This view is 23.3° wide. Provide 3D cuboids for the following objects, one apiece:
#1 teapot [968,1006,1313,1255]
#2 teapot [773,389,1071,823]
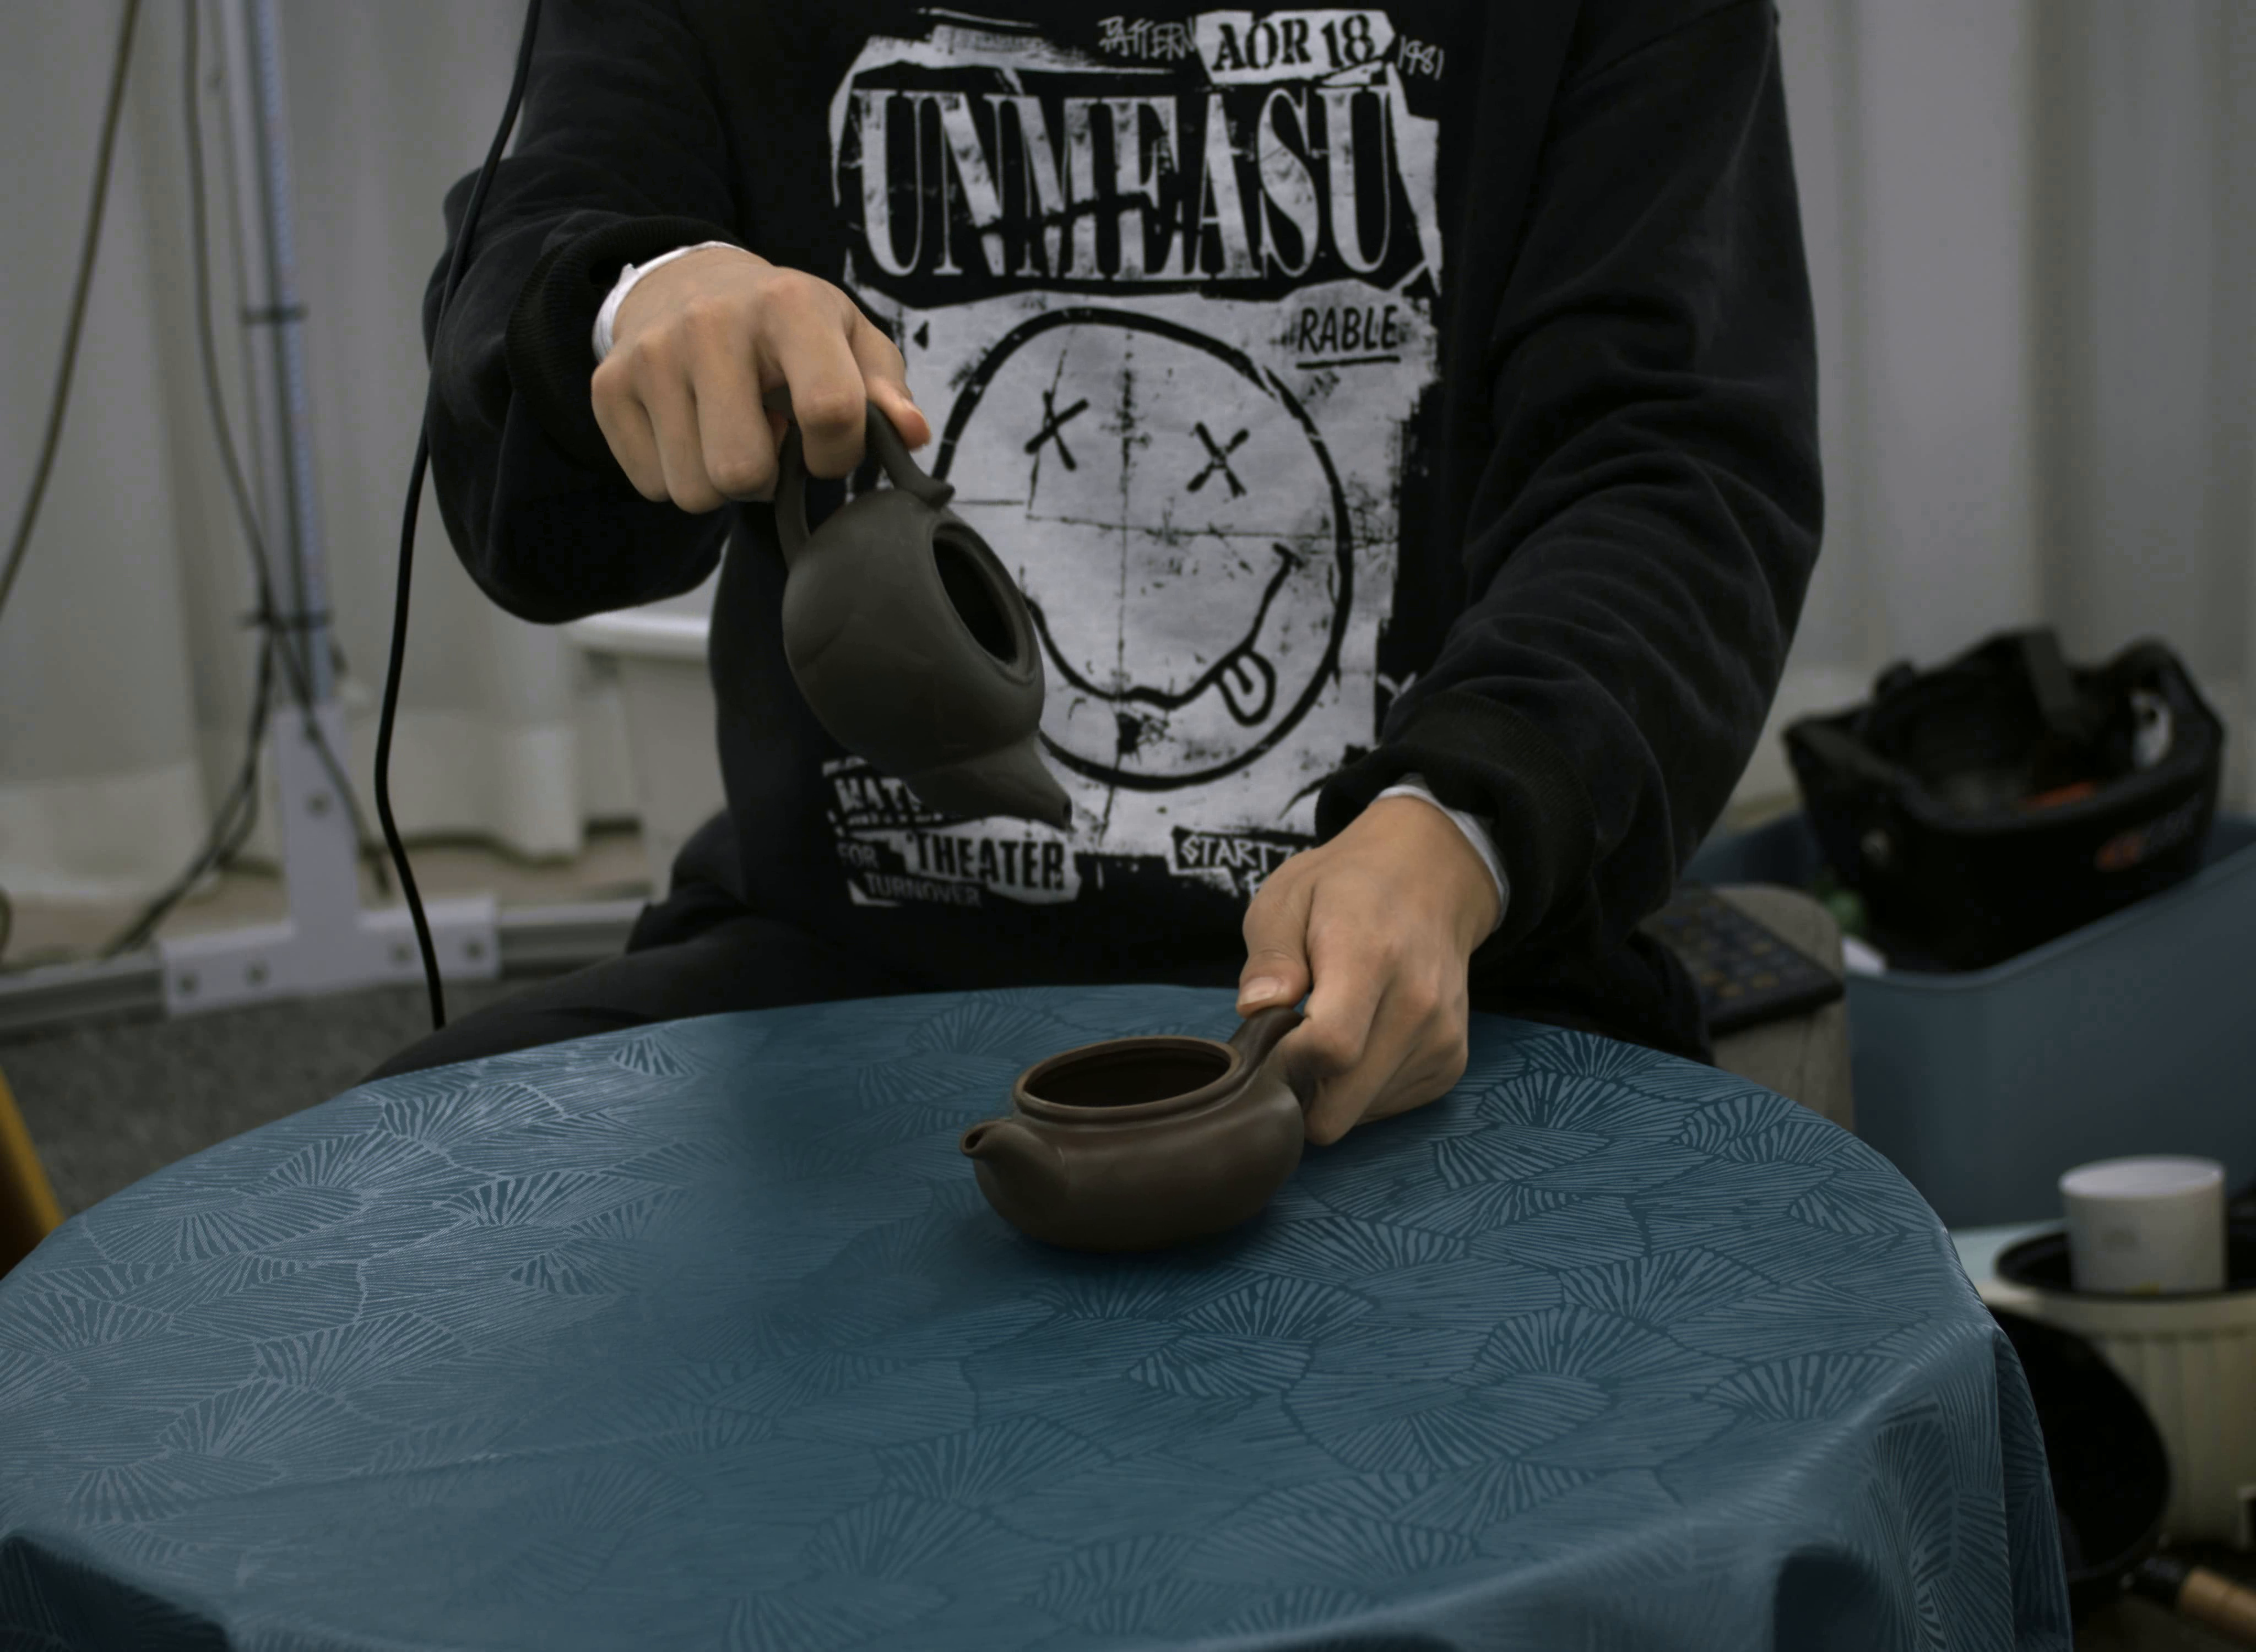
[{"bbox_3d":[0.006,0.095,1.677,0.103,0.053,0.153,8,22,37],"label":"teapot"},{"bbox_3d":[-0.066,-0.061,1.657,0.064,0.155,0.092,-30,-13,18],"label":"teapot"}]
